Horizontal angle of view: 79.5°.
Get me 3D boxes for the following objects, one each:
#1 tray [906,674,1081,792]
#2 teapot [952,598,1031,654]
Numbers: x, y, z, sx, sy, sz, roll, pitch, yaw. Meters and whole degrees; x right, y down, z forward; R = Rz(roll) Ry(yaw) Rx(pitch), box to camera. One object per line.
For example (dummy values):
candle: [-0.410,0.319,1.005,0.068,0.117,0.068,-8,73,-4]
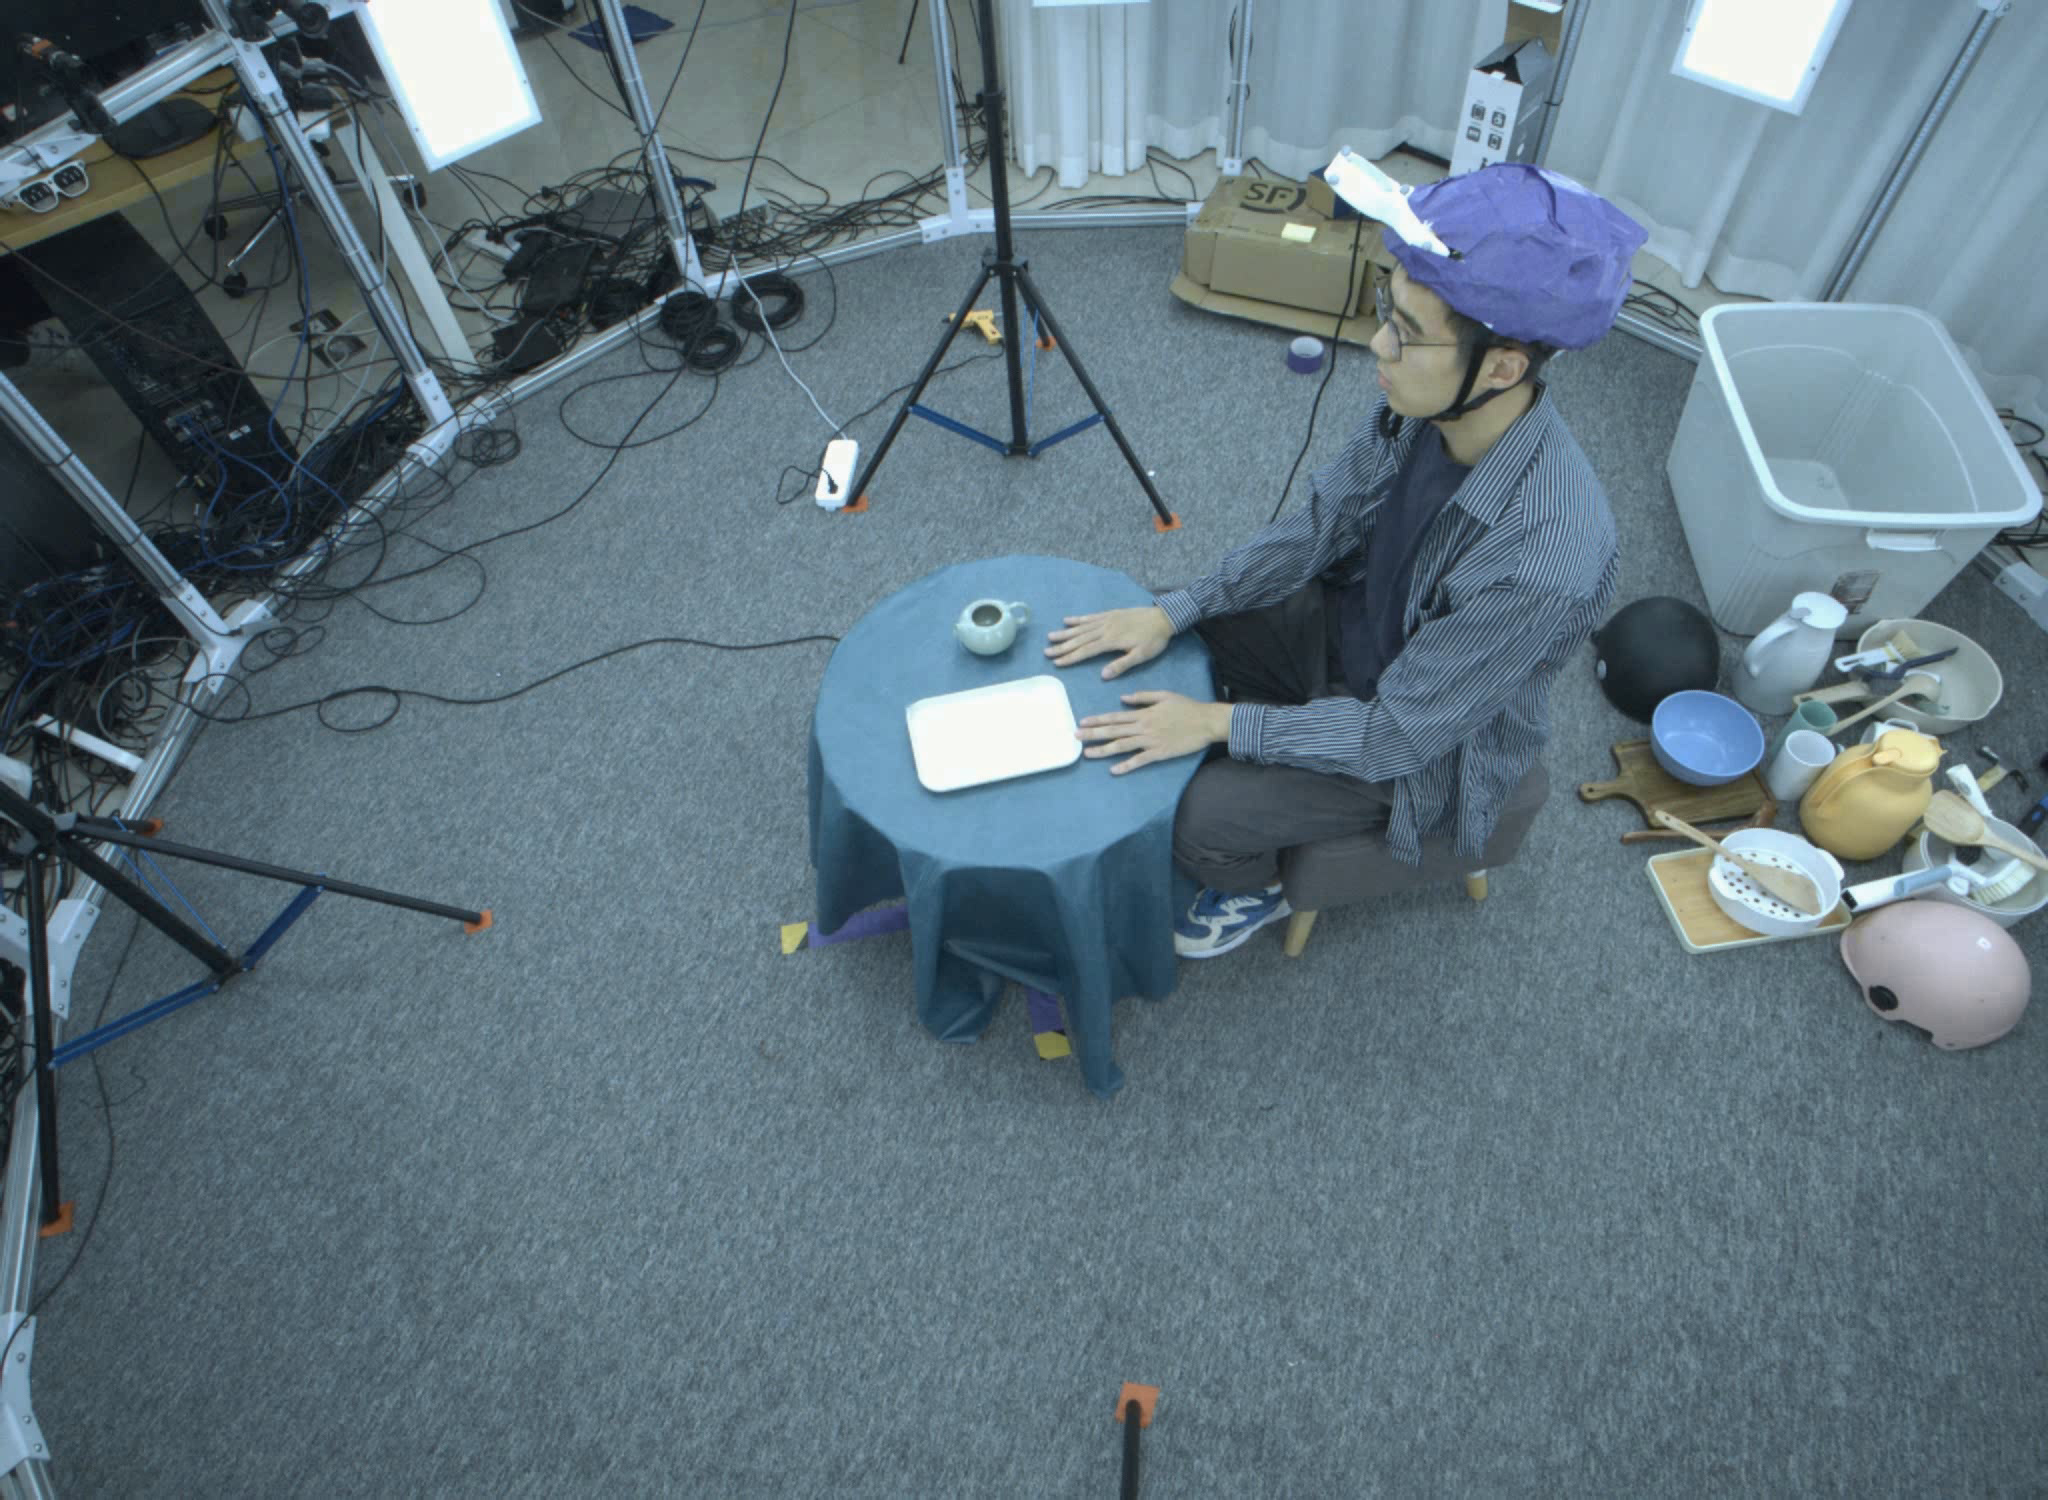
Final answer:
tray: [-0.046,-0.025,1.800,0.241,0.017,0.168,-11,56,-7]
teapot: [-0.049,-0.194,1.895,0.129,0.061,0.090,-20,54,-12]
